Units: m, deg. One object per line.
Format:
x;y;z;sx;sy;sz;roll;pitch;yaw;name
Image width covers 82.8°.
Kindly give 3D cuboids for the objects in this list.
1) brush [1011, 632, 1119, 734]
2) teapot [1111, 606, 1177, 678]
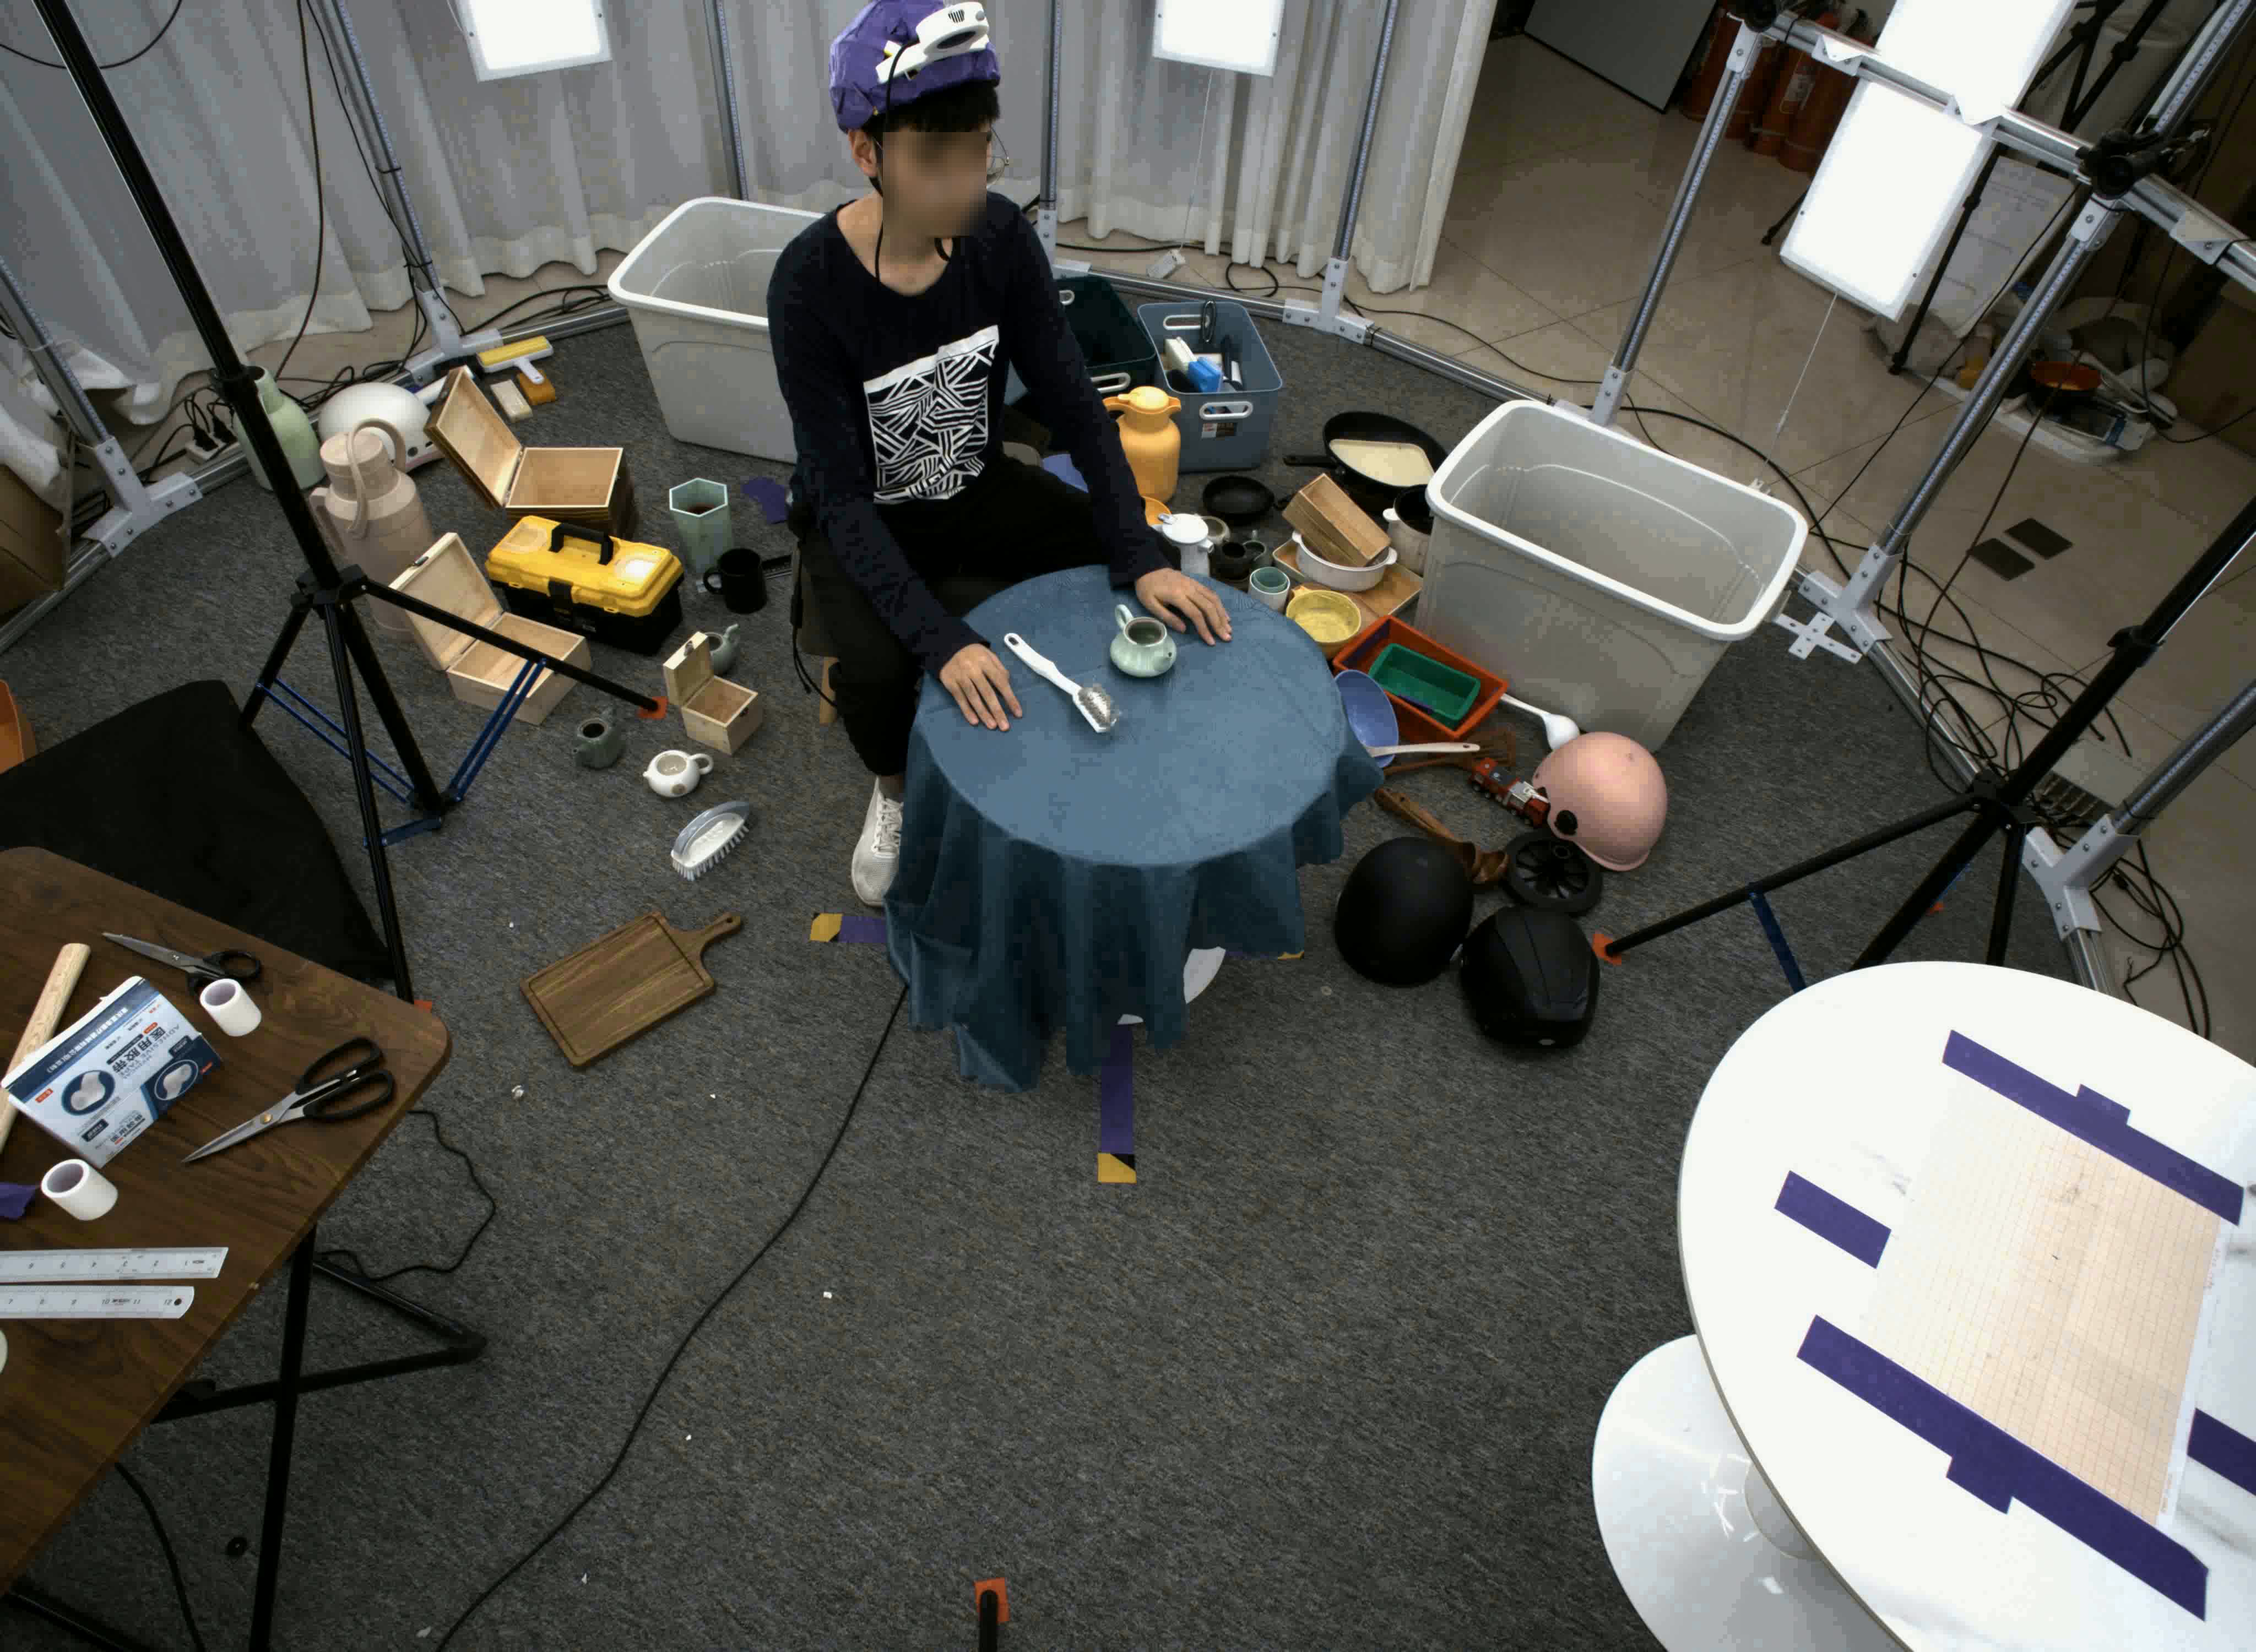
-0.095;-0.217;1.820;0.034;0.049;0.248;-30;56;-21;brush
0.021;-0.265;1.861;0.097;0.060;0.139;-30;57;-23;teapot
